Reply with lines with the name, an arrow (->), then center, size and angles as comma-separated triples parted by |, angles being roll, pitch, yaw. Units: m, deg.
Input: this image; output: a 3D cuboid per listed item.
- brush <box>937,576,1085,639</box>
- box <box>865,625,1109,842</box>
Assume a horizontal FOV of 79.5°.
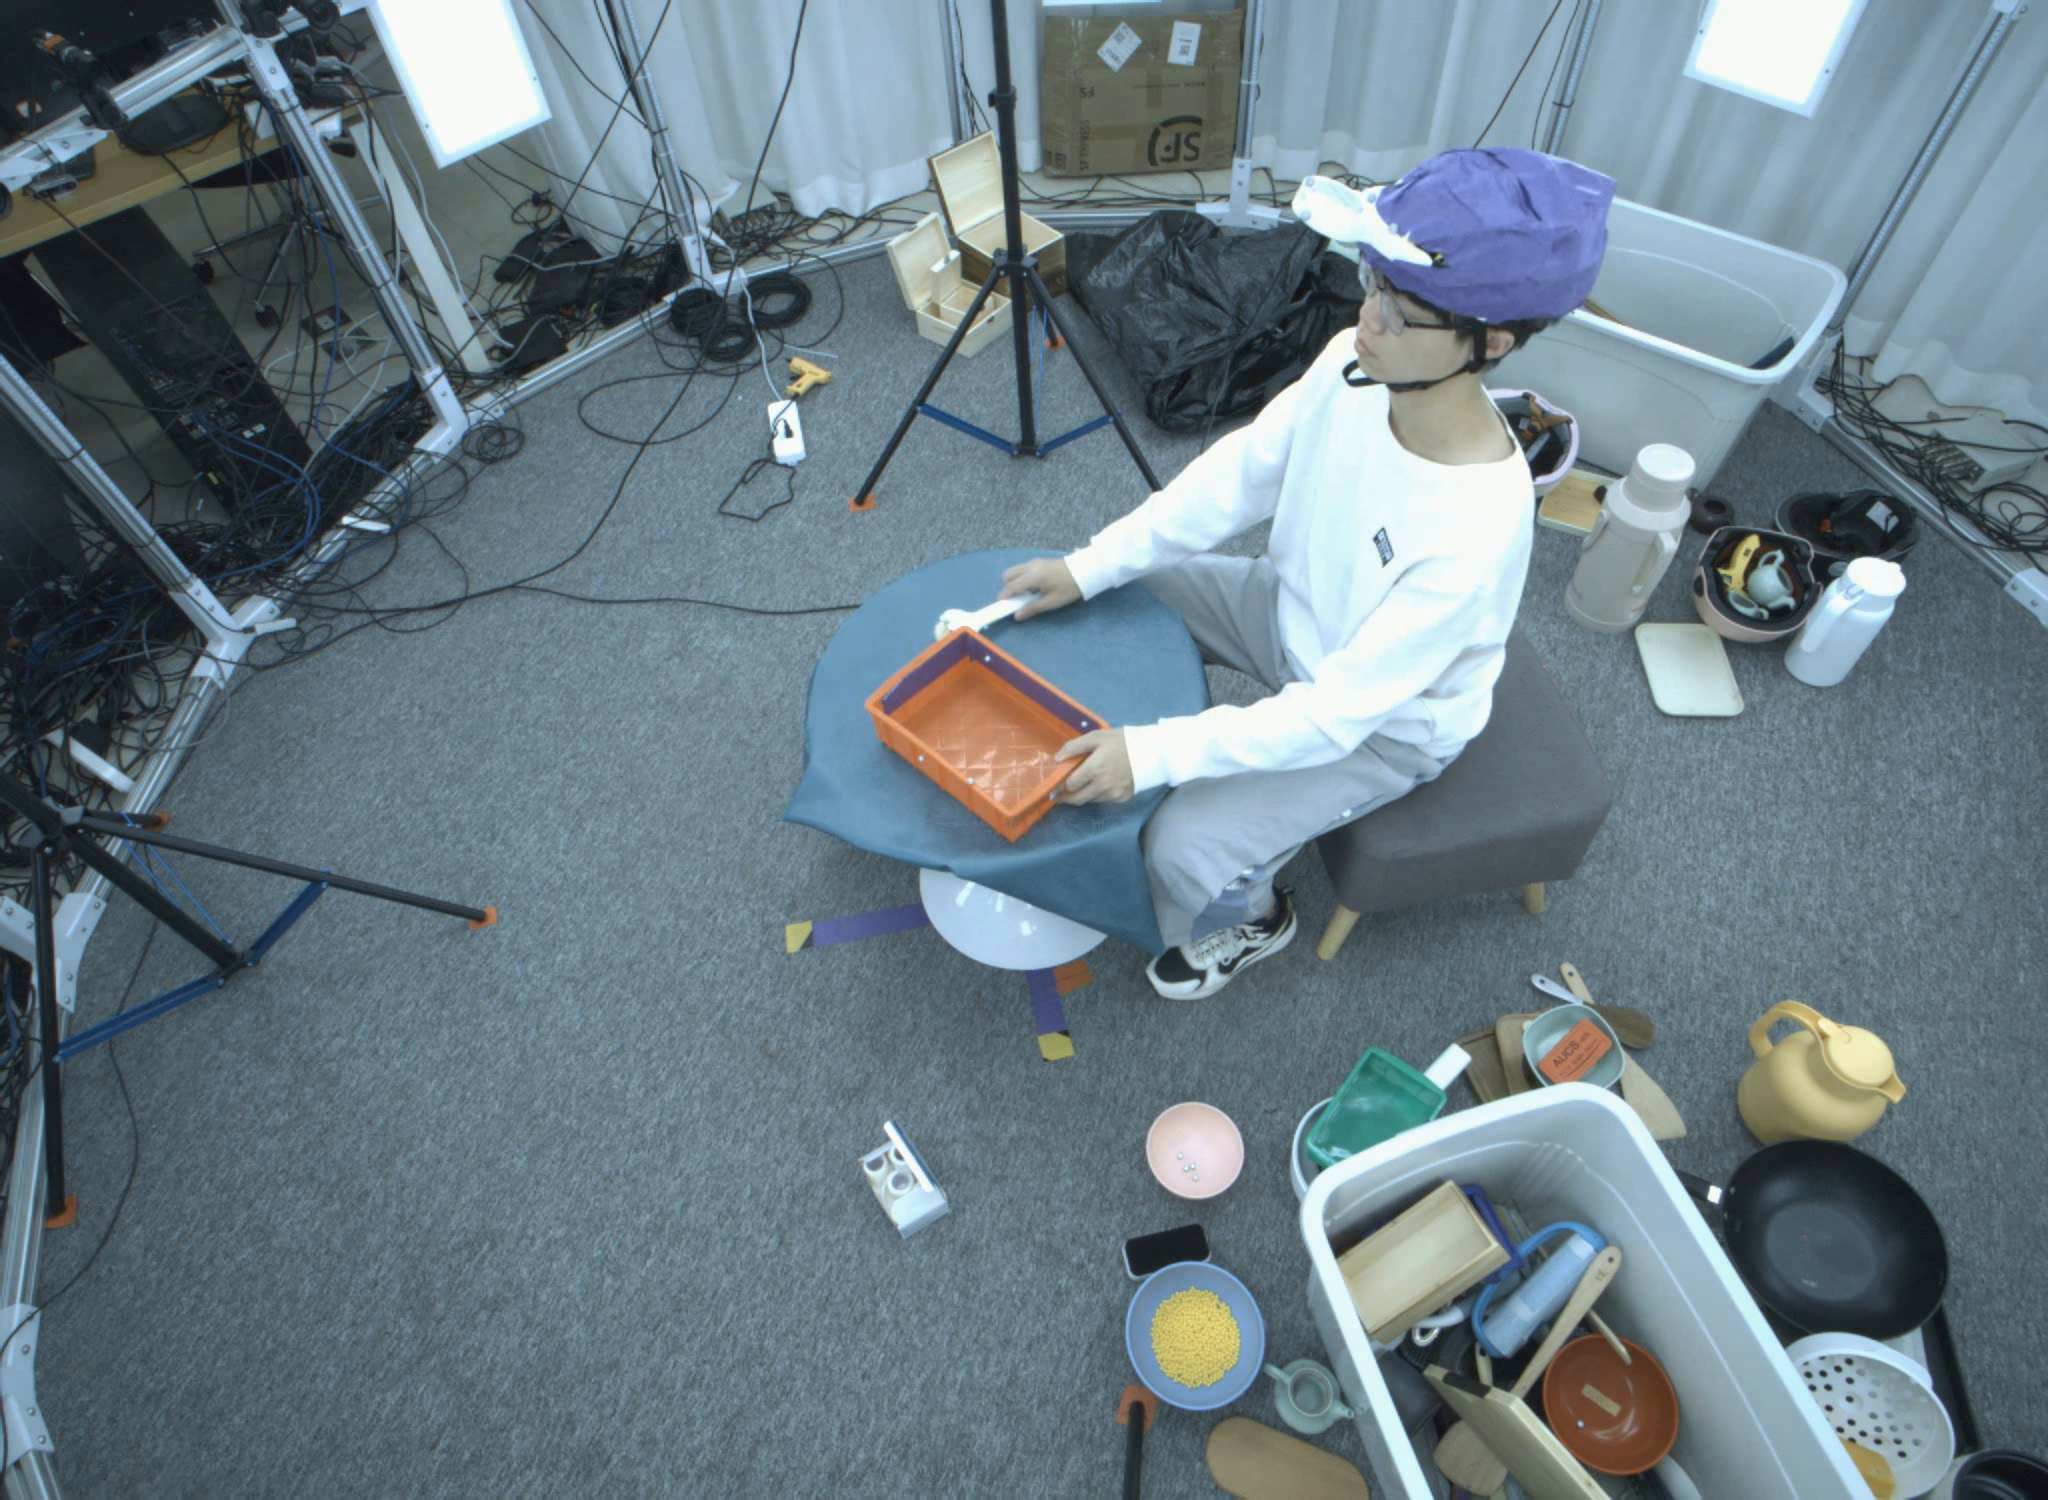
brush -> -0.018, -0.216, 1.930 | 0.270, 0.056, 0.068 | -22, 69, -32
box -> -0.053, -0.024, 1.751 | 0.298, 0.097, 0.208 | 38, 63, 23
